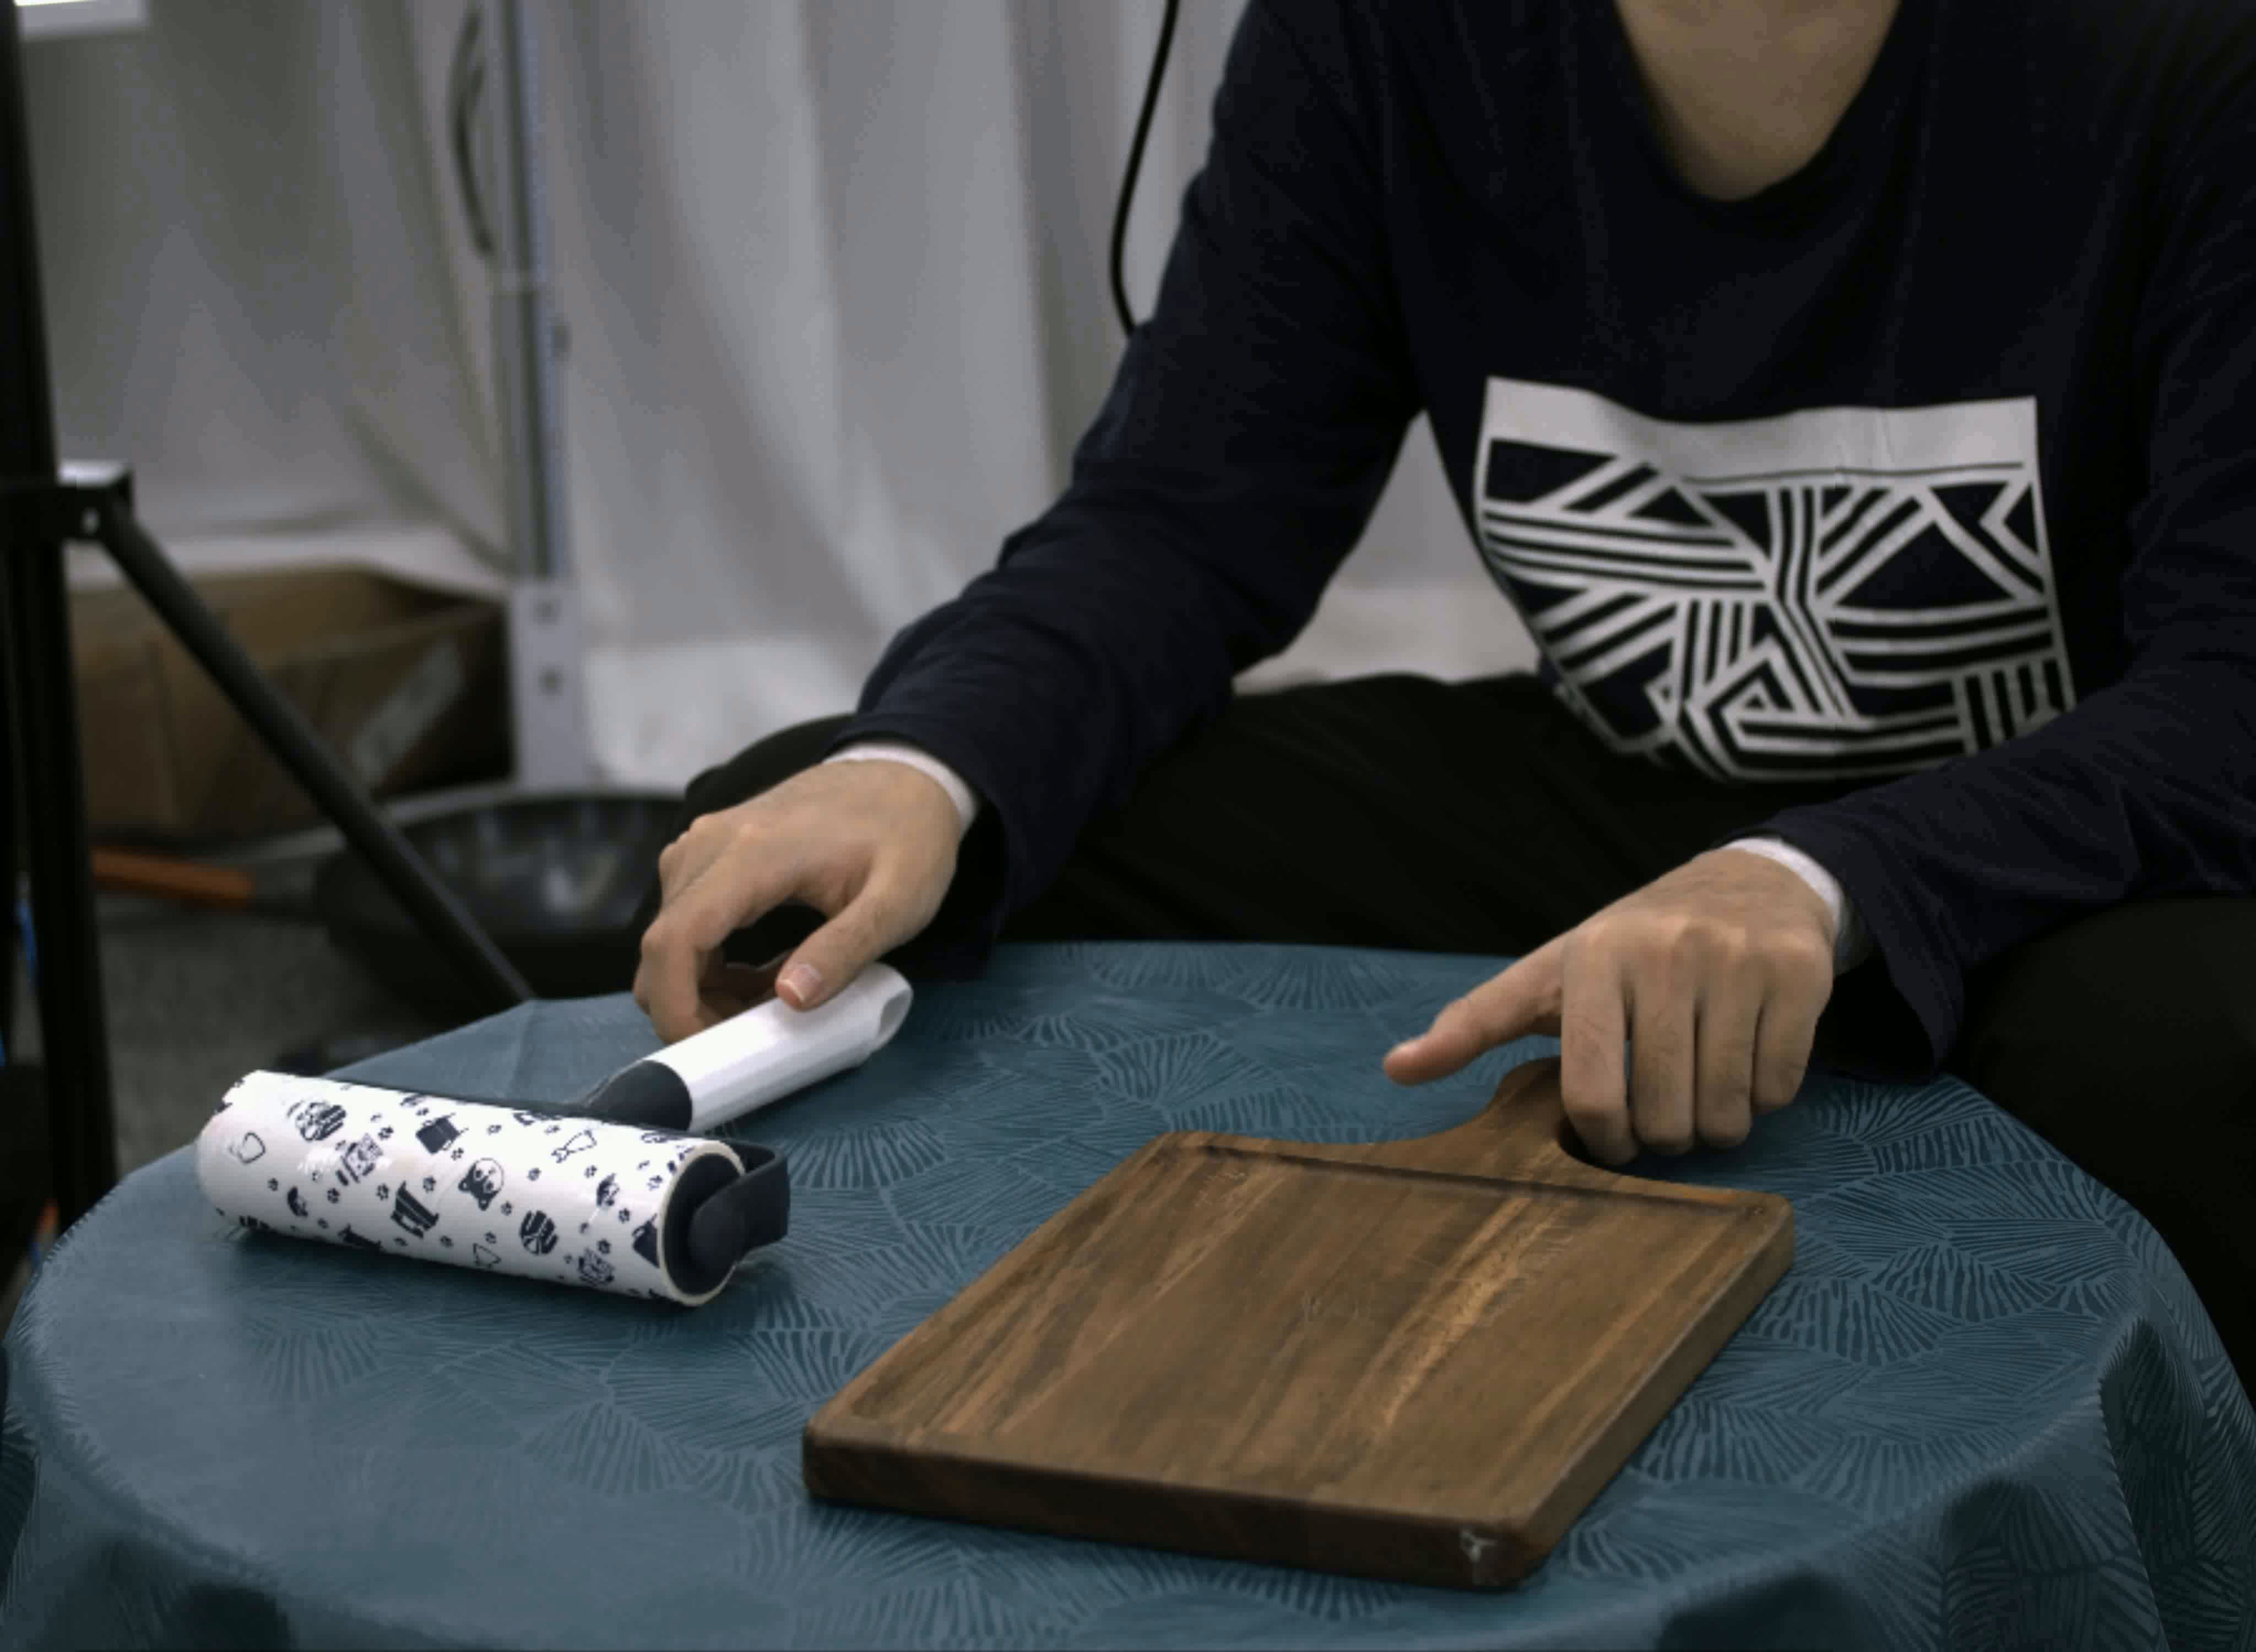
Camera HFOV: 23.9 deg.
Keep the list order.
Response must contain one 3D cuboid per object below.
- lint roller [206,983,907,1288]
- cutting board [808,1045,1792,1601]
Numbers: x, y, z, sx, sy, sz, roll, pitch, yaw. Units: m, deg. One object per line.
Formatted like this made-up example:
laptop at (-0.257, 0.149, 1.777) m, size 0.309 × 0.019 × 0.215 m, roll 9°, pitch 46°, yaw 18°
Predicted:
lint roller at (-0.139, 0.078, 1.611) m, size 0.179 × 0.050 × 0.242 m, roll 5°, pitch 16°, yaw 29°
cutting board at (0.071, 0.124, 1.456) m, size 0.204 × 0.023 × 0.347 m, roll 5°, pitch 18°, yaw 22°
